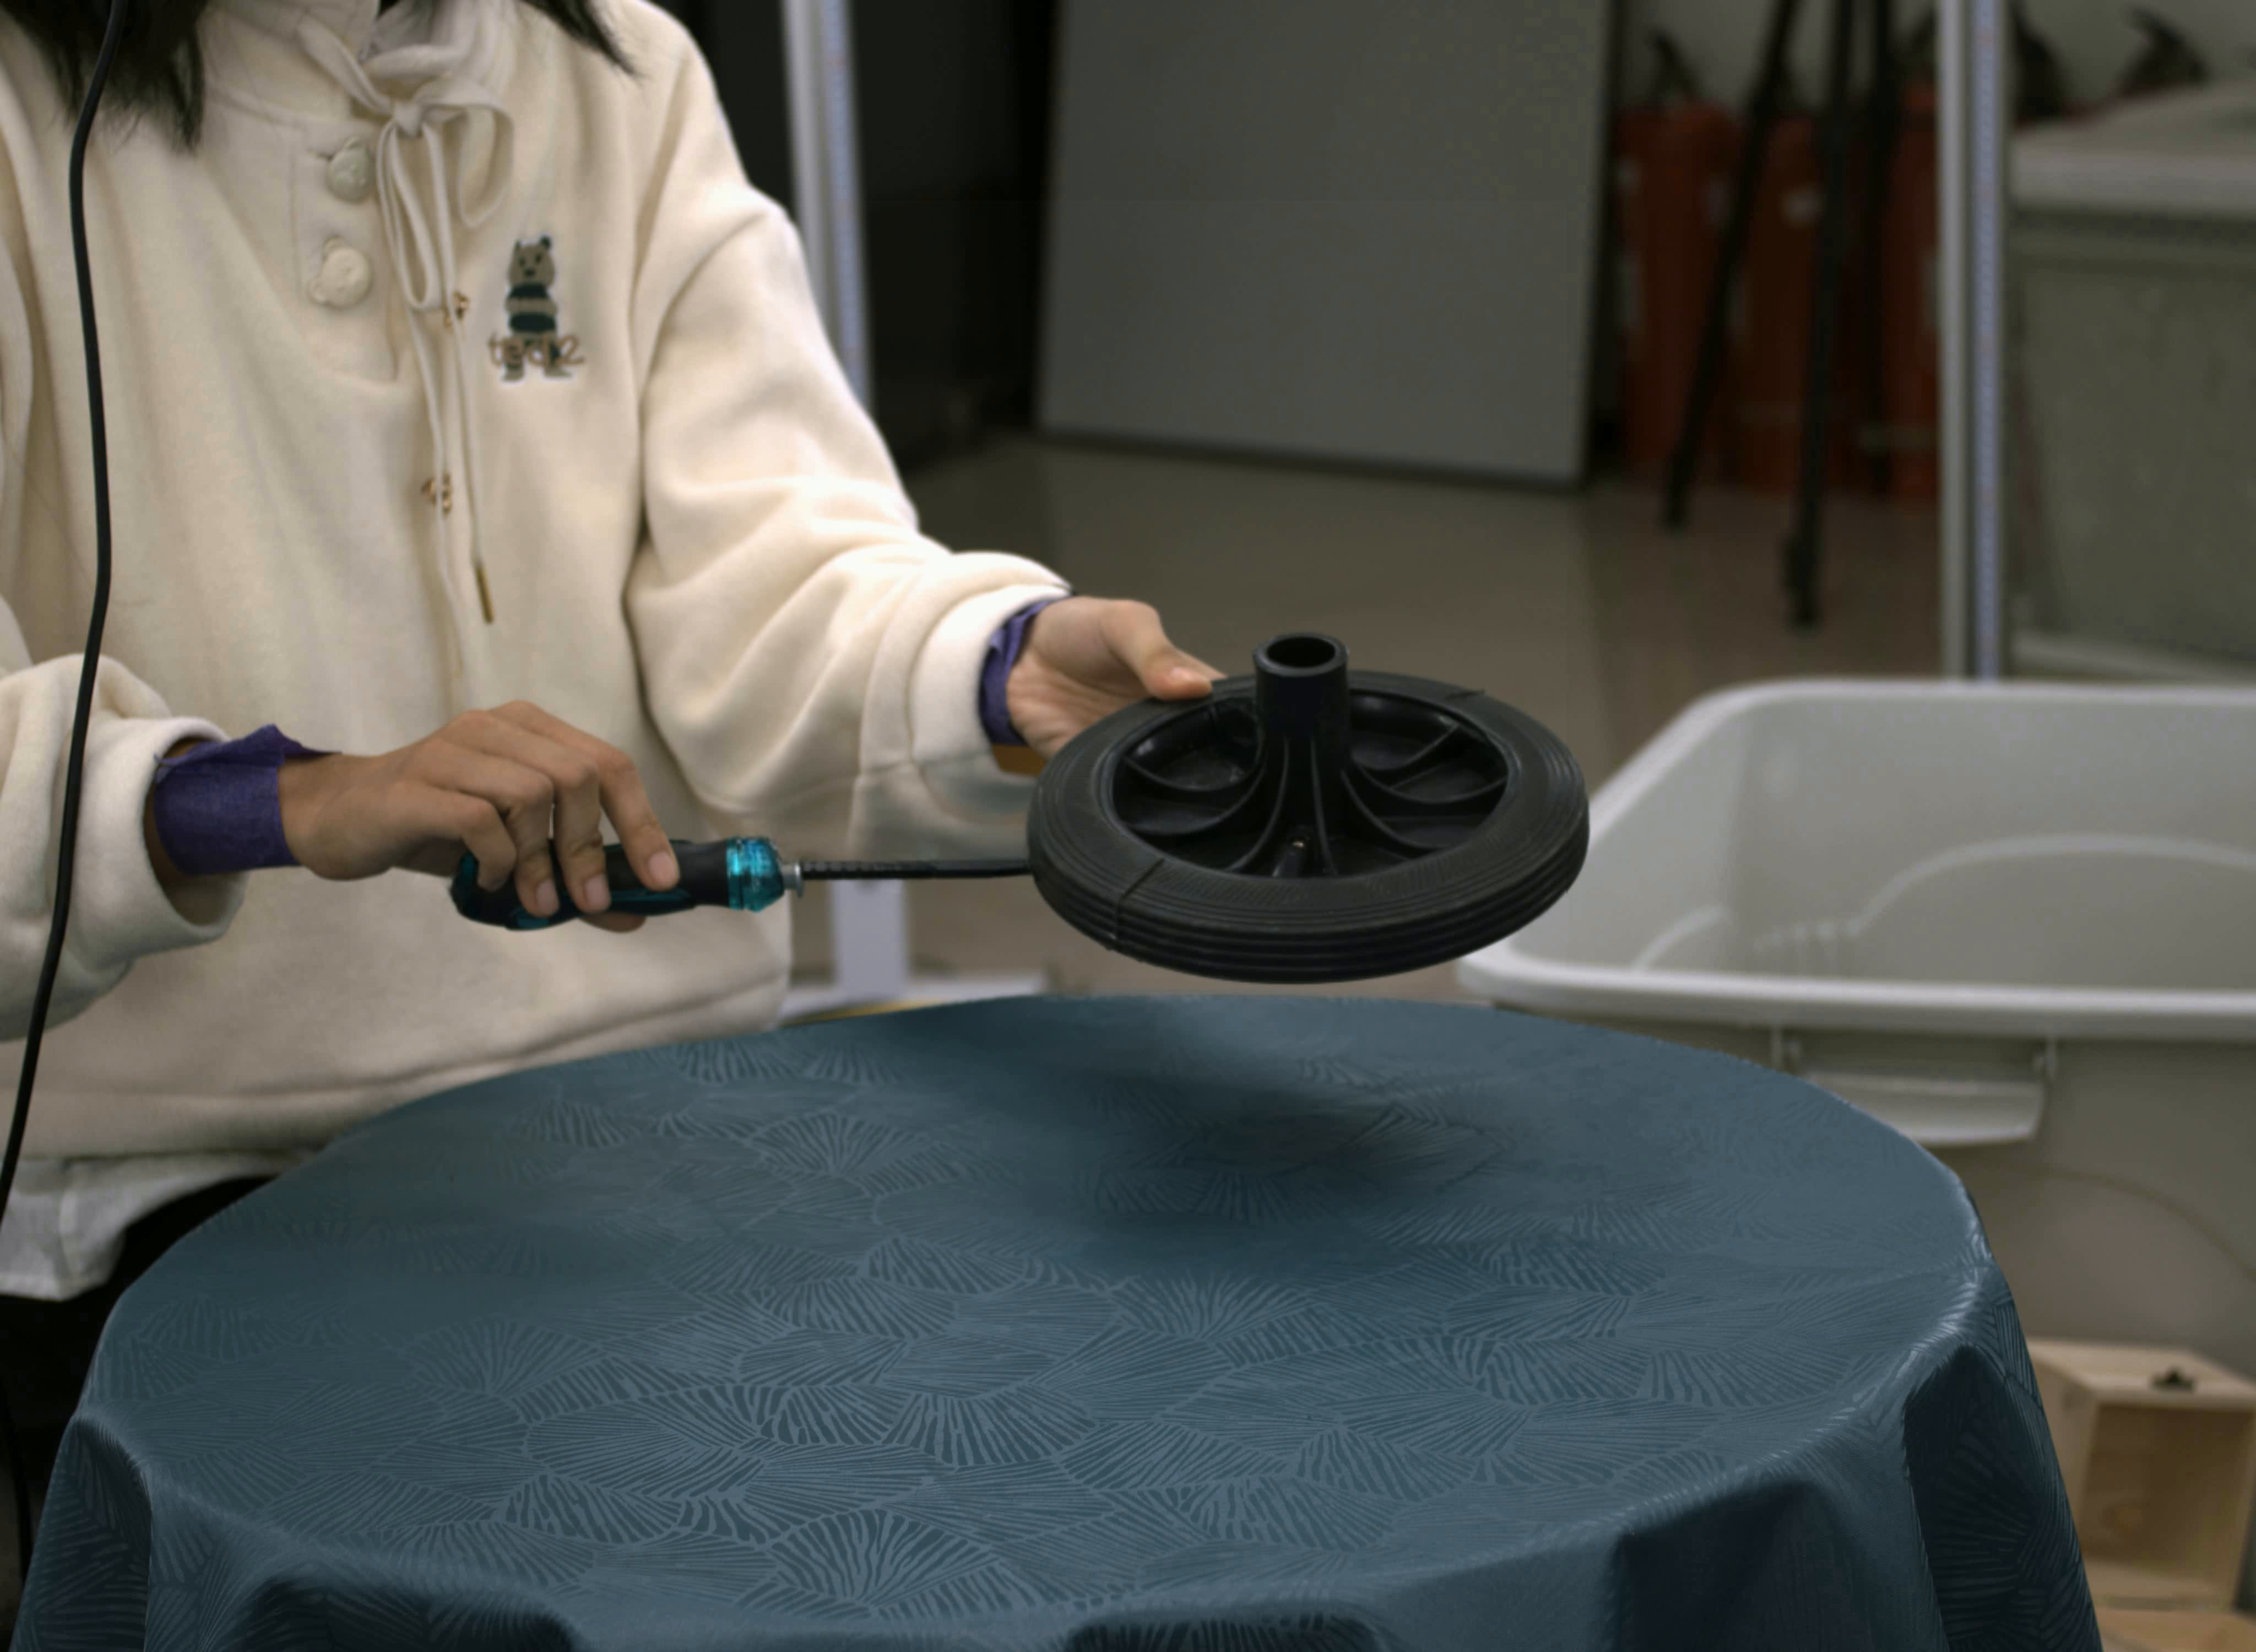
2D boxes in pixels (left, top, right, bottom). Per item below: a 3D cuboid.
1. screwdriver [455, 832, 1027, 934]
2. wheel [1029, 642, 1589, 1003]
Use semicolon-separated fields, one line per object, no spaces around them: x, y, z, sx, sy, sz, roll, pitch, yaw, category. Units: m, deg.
-0.127;0.017;1.776;0.188;0.034;0.034;-2;13;3;screwdriver
0.059;-0.018;1.777;0.184;0.080;0.191;-9;30;-8;wheel
